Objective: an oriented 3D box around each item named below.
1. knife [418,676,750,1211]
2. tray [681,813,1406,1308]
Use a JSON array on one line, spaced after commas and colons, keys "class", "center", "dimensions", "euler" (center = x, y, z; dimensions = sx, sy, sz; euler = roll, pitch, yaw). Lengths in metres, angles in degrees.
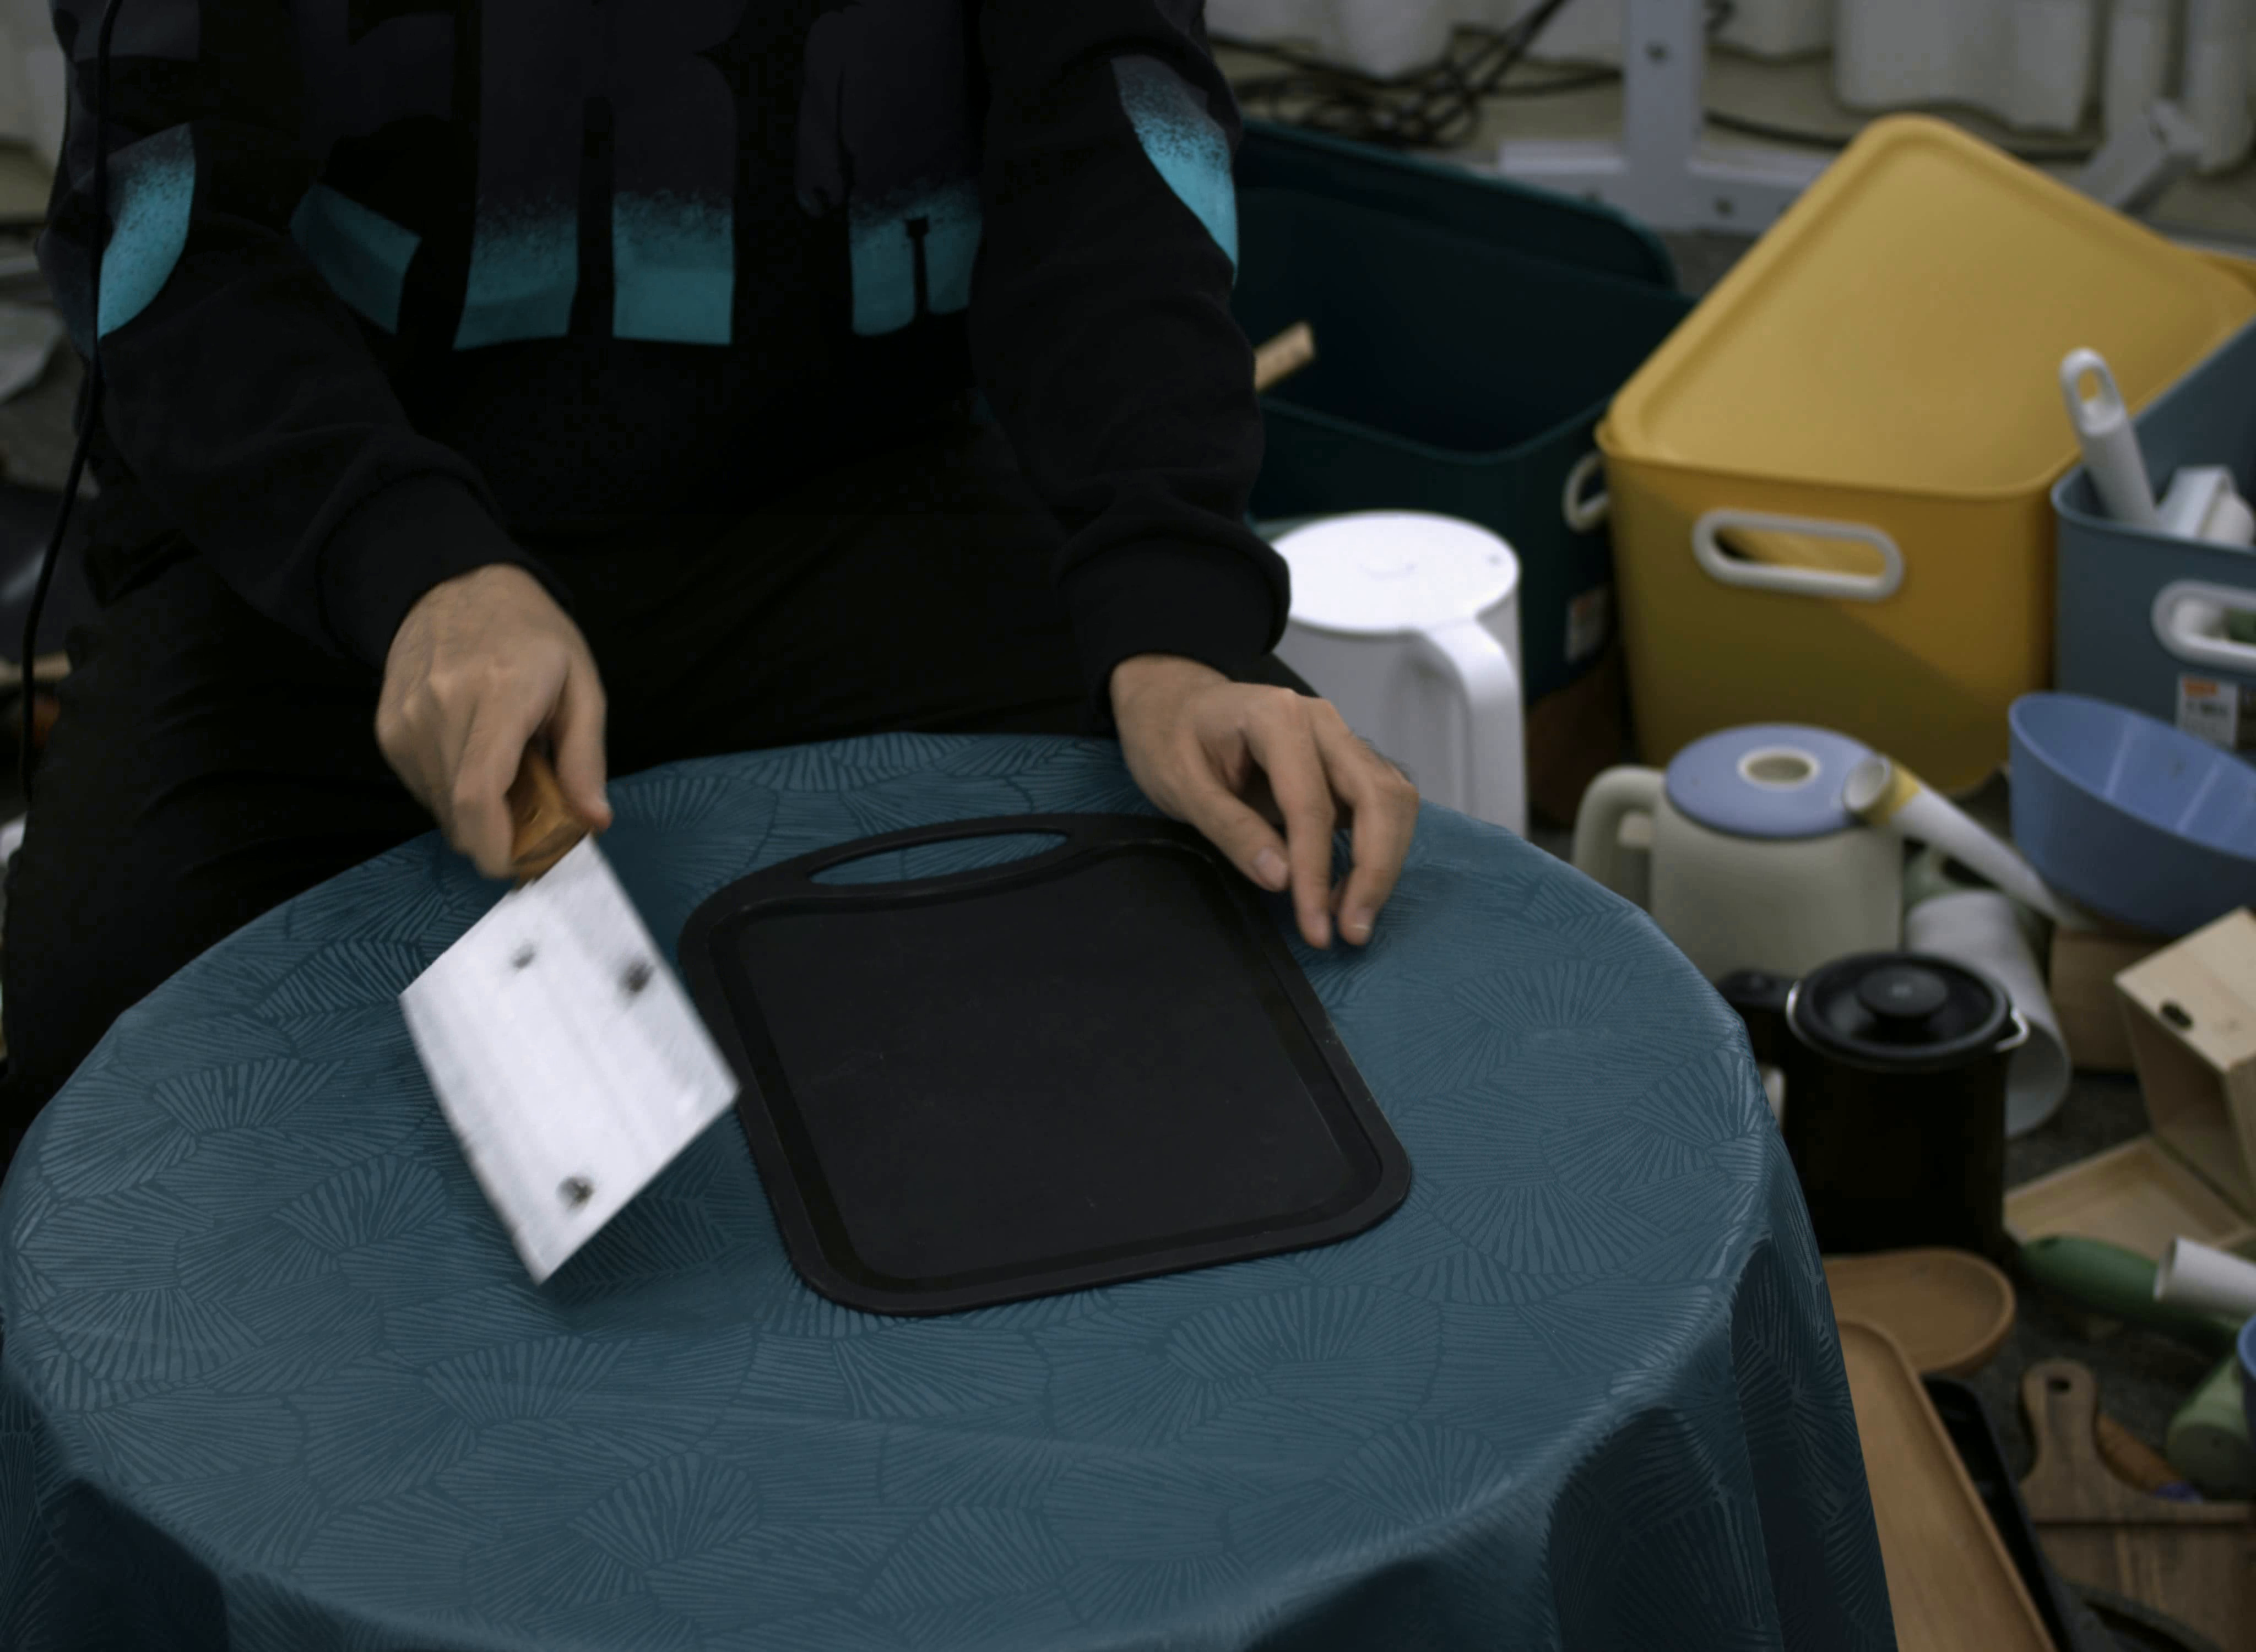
[{"class": "knife", "center": [-0.203, 0.040, 1.926], "dimensions": [0.093, 0.021, 0.308], "euler": [-45, 33, 4]}, {"class": "tray", "center": [-0.038, 0.072, 1.953], "dimensions": [0.211, 0.009, 0.329], "euler": [-9, 28, -11]}]
